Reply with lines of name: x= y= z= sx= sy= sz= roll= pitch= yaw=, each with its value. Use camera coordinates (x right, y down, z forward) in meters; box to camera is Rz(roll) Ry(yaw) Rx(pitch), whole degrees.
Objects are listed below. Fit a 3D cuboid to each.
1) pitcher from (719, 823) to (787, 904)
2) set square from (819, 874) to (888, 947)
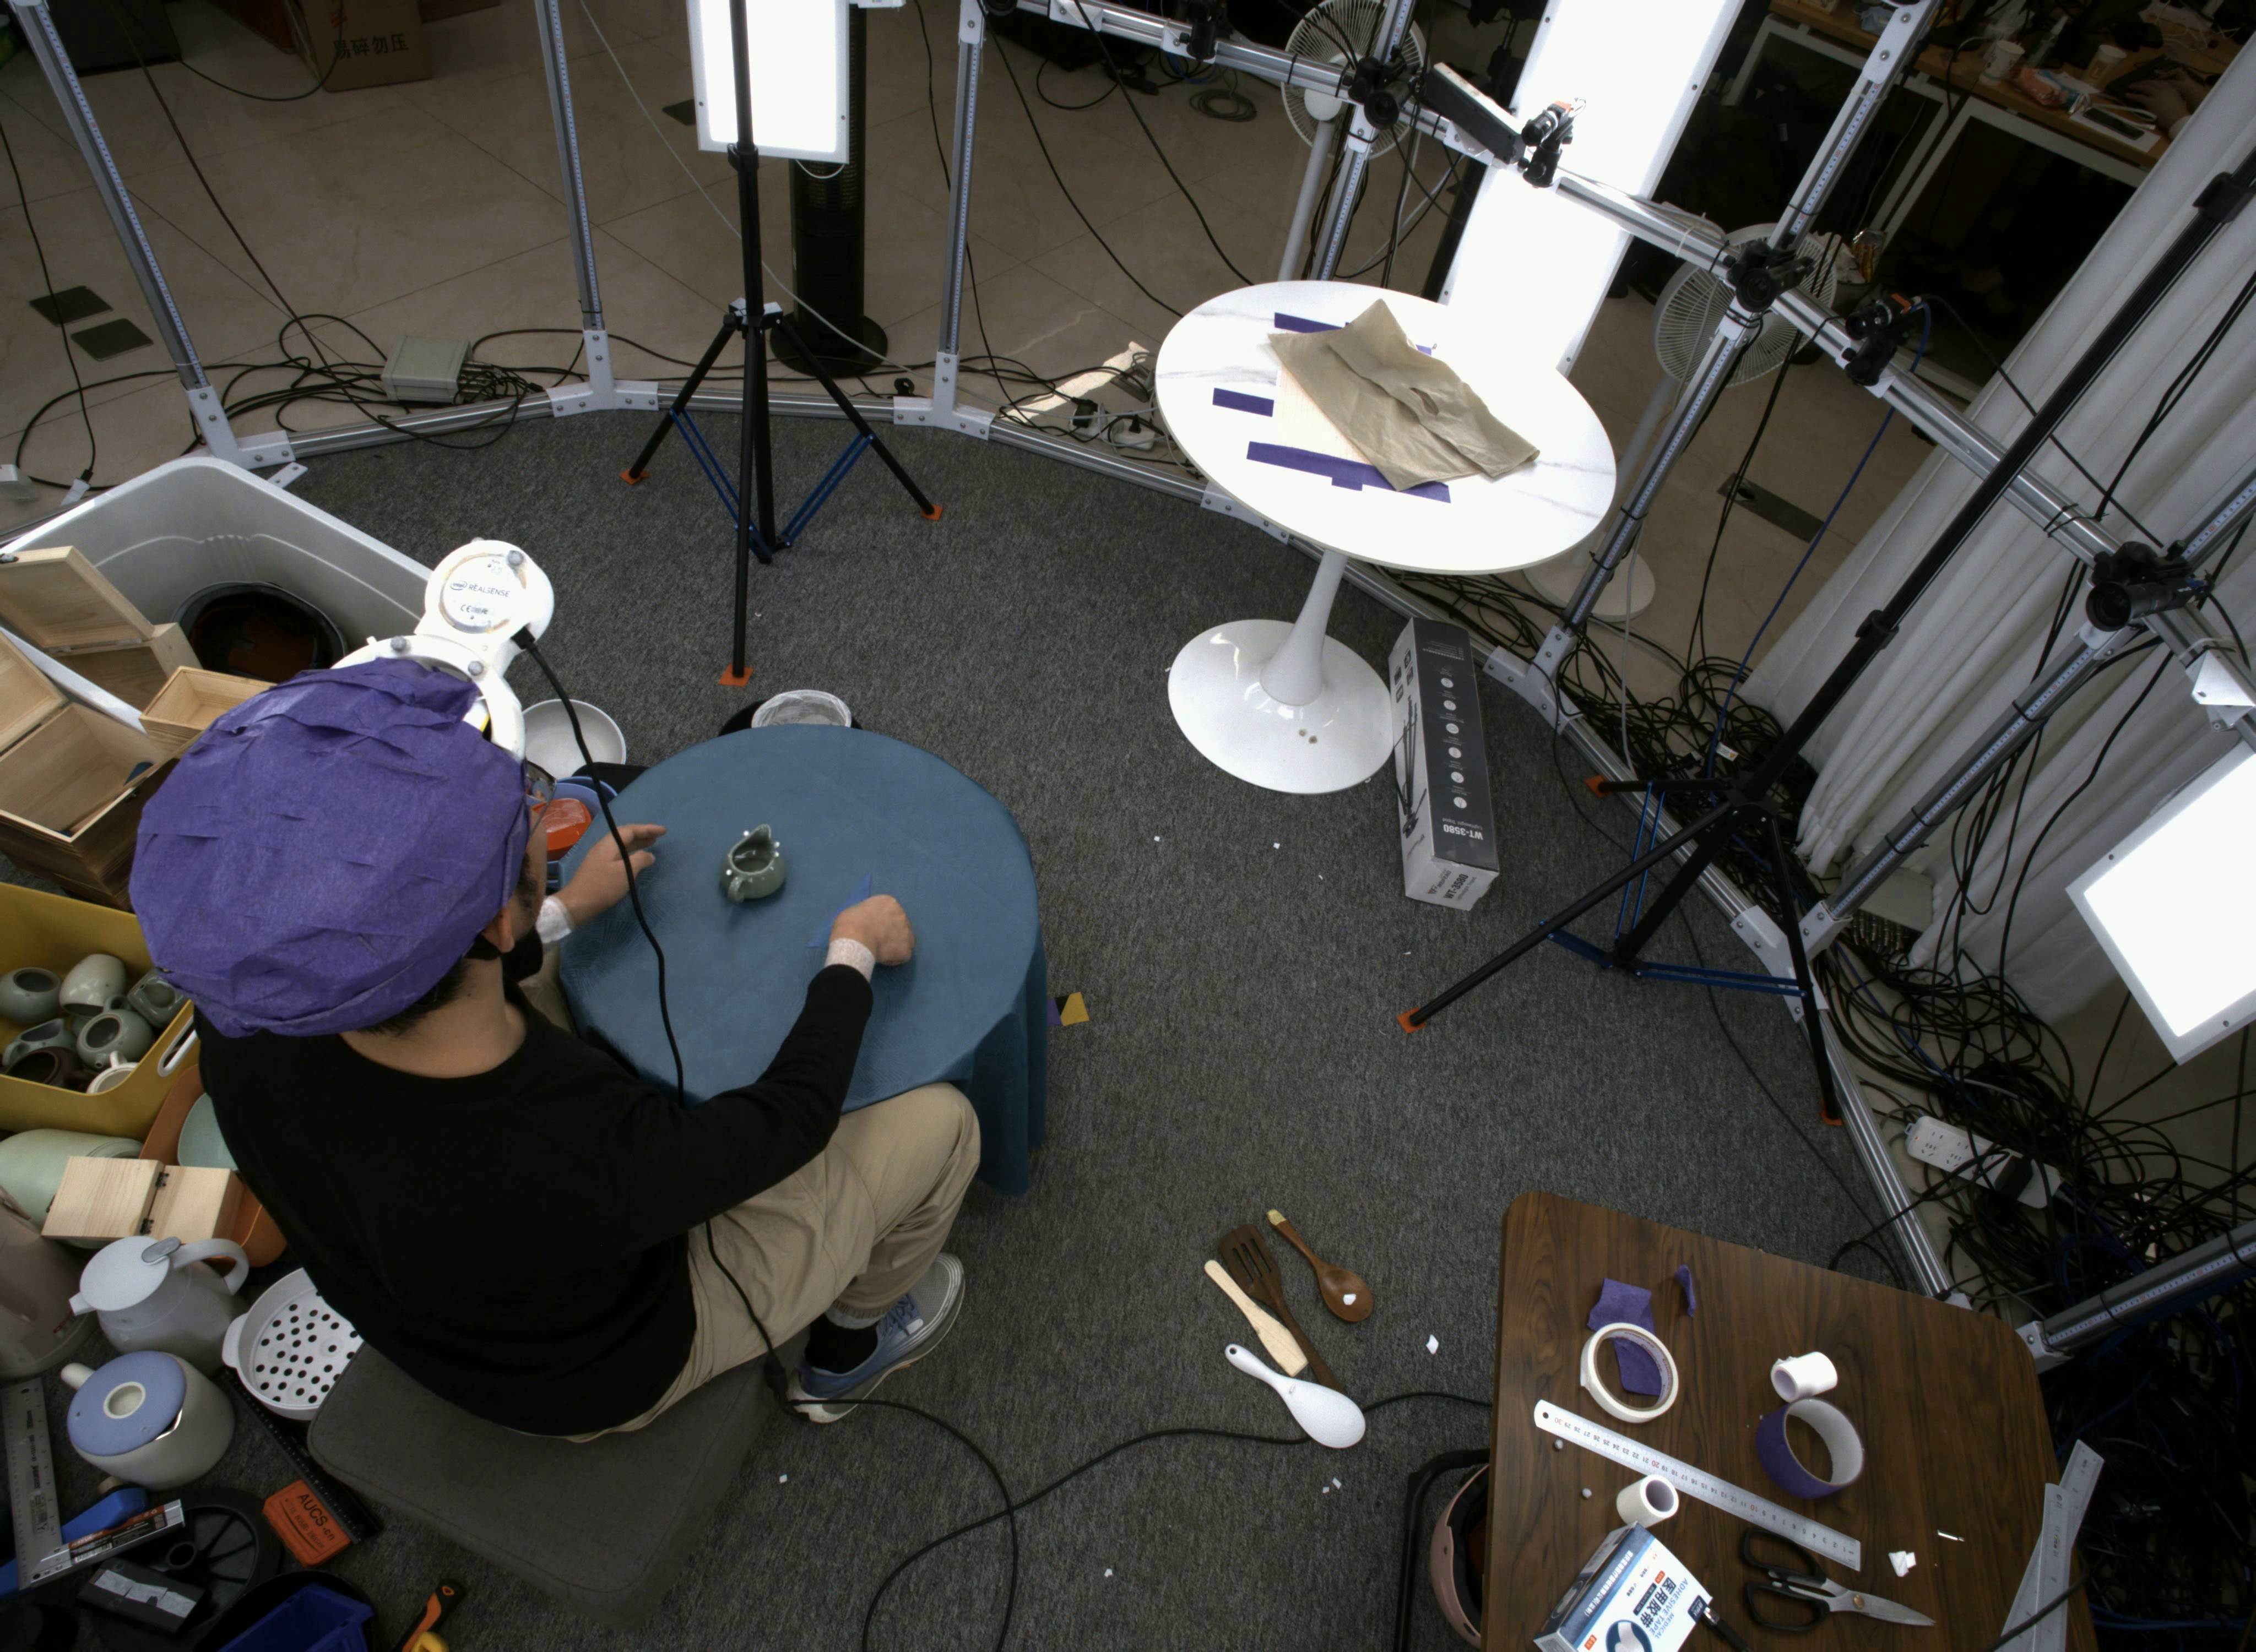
pitcher: x=-0.476 y=0.054 z=1.629 sx=0.083 sy=0.057 sz=0.111 roll=14 pitch=51 yaw=0
set square: x=-0.332 y=0.113 z=1.657 sx=0.060 sy=0.007 sz=0.131 roll=31 pitch=52 yaw=10
